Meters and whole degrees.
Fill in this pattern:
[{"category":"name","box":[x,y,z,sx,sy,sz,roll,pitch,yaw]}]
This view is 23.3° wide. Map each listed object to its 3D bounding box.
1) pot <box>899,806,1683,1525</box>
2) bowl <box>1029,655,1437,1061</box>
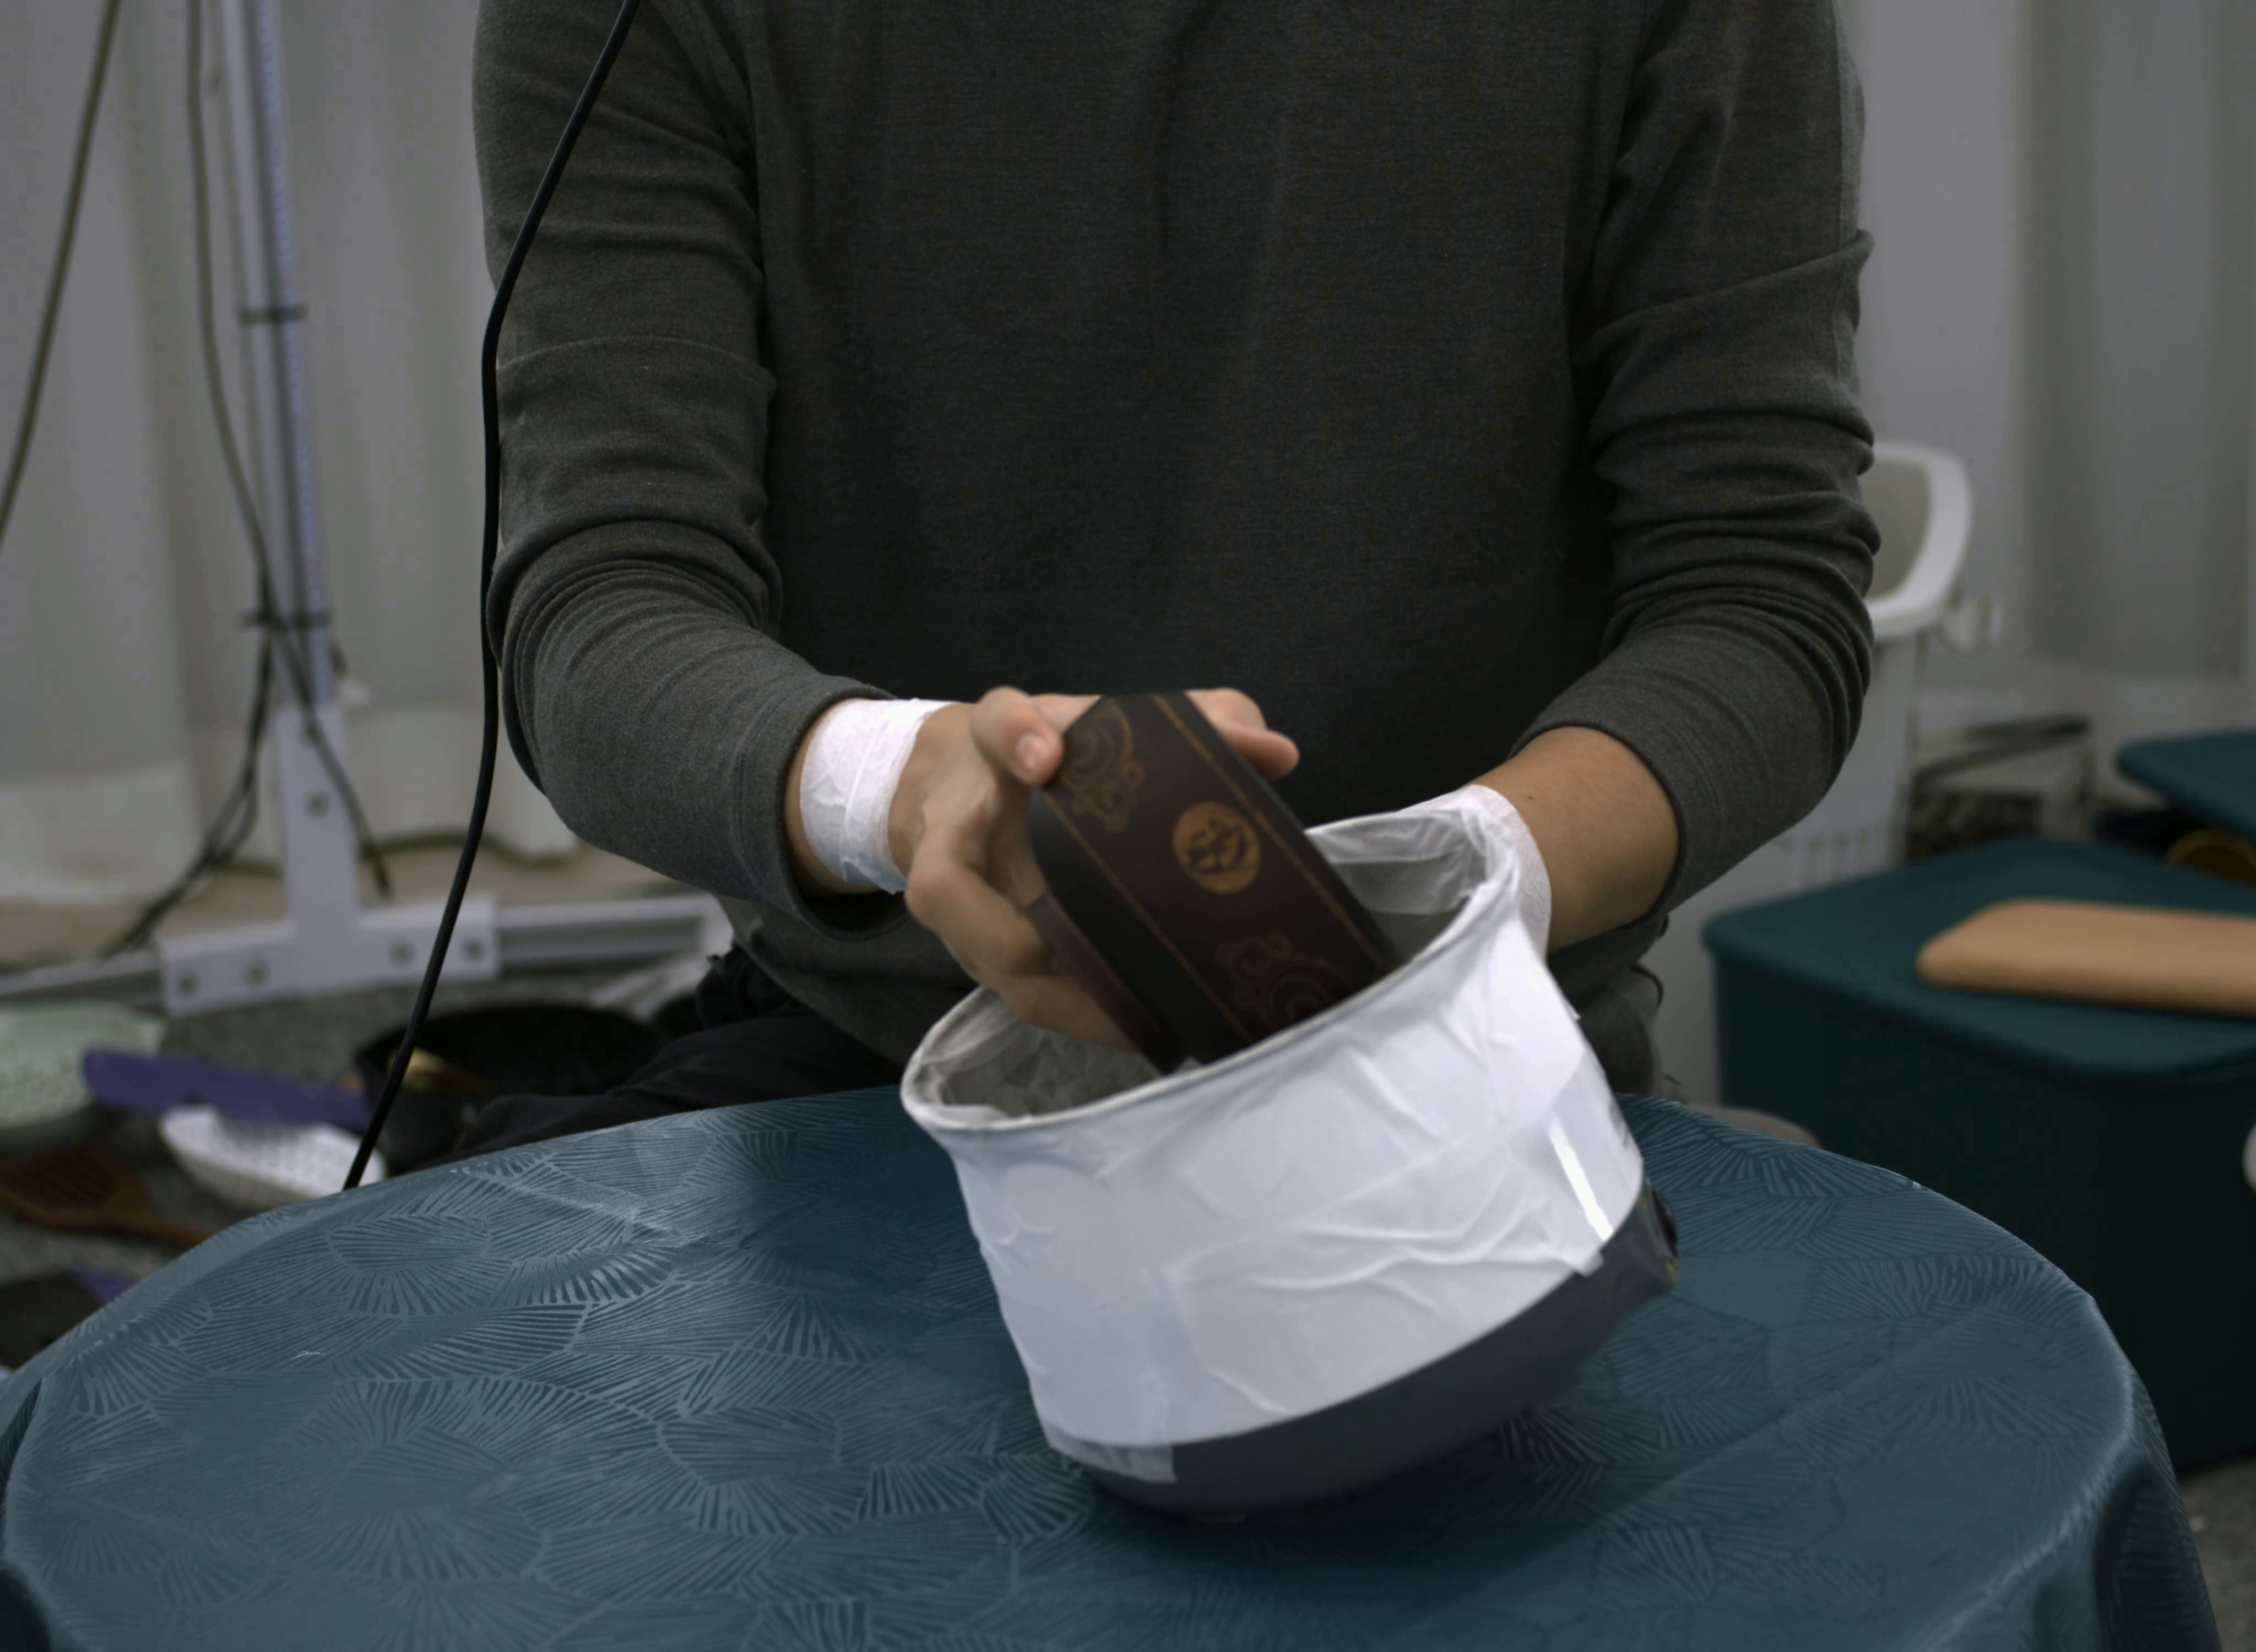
[{"category":"pot","box":[0.046,0.084,1.492,0.178,0.136,0.235,-21,15,8]},{"category":"bowl","box":[0.018,0.021,1.420,0.070,0.117,0.119,-41,19,-2]}]
